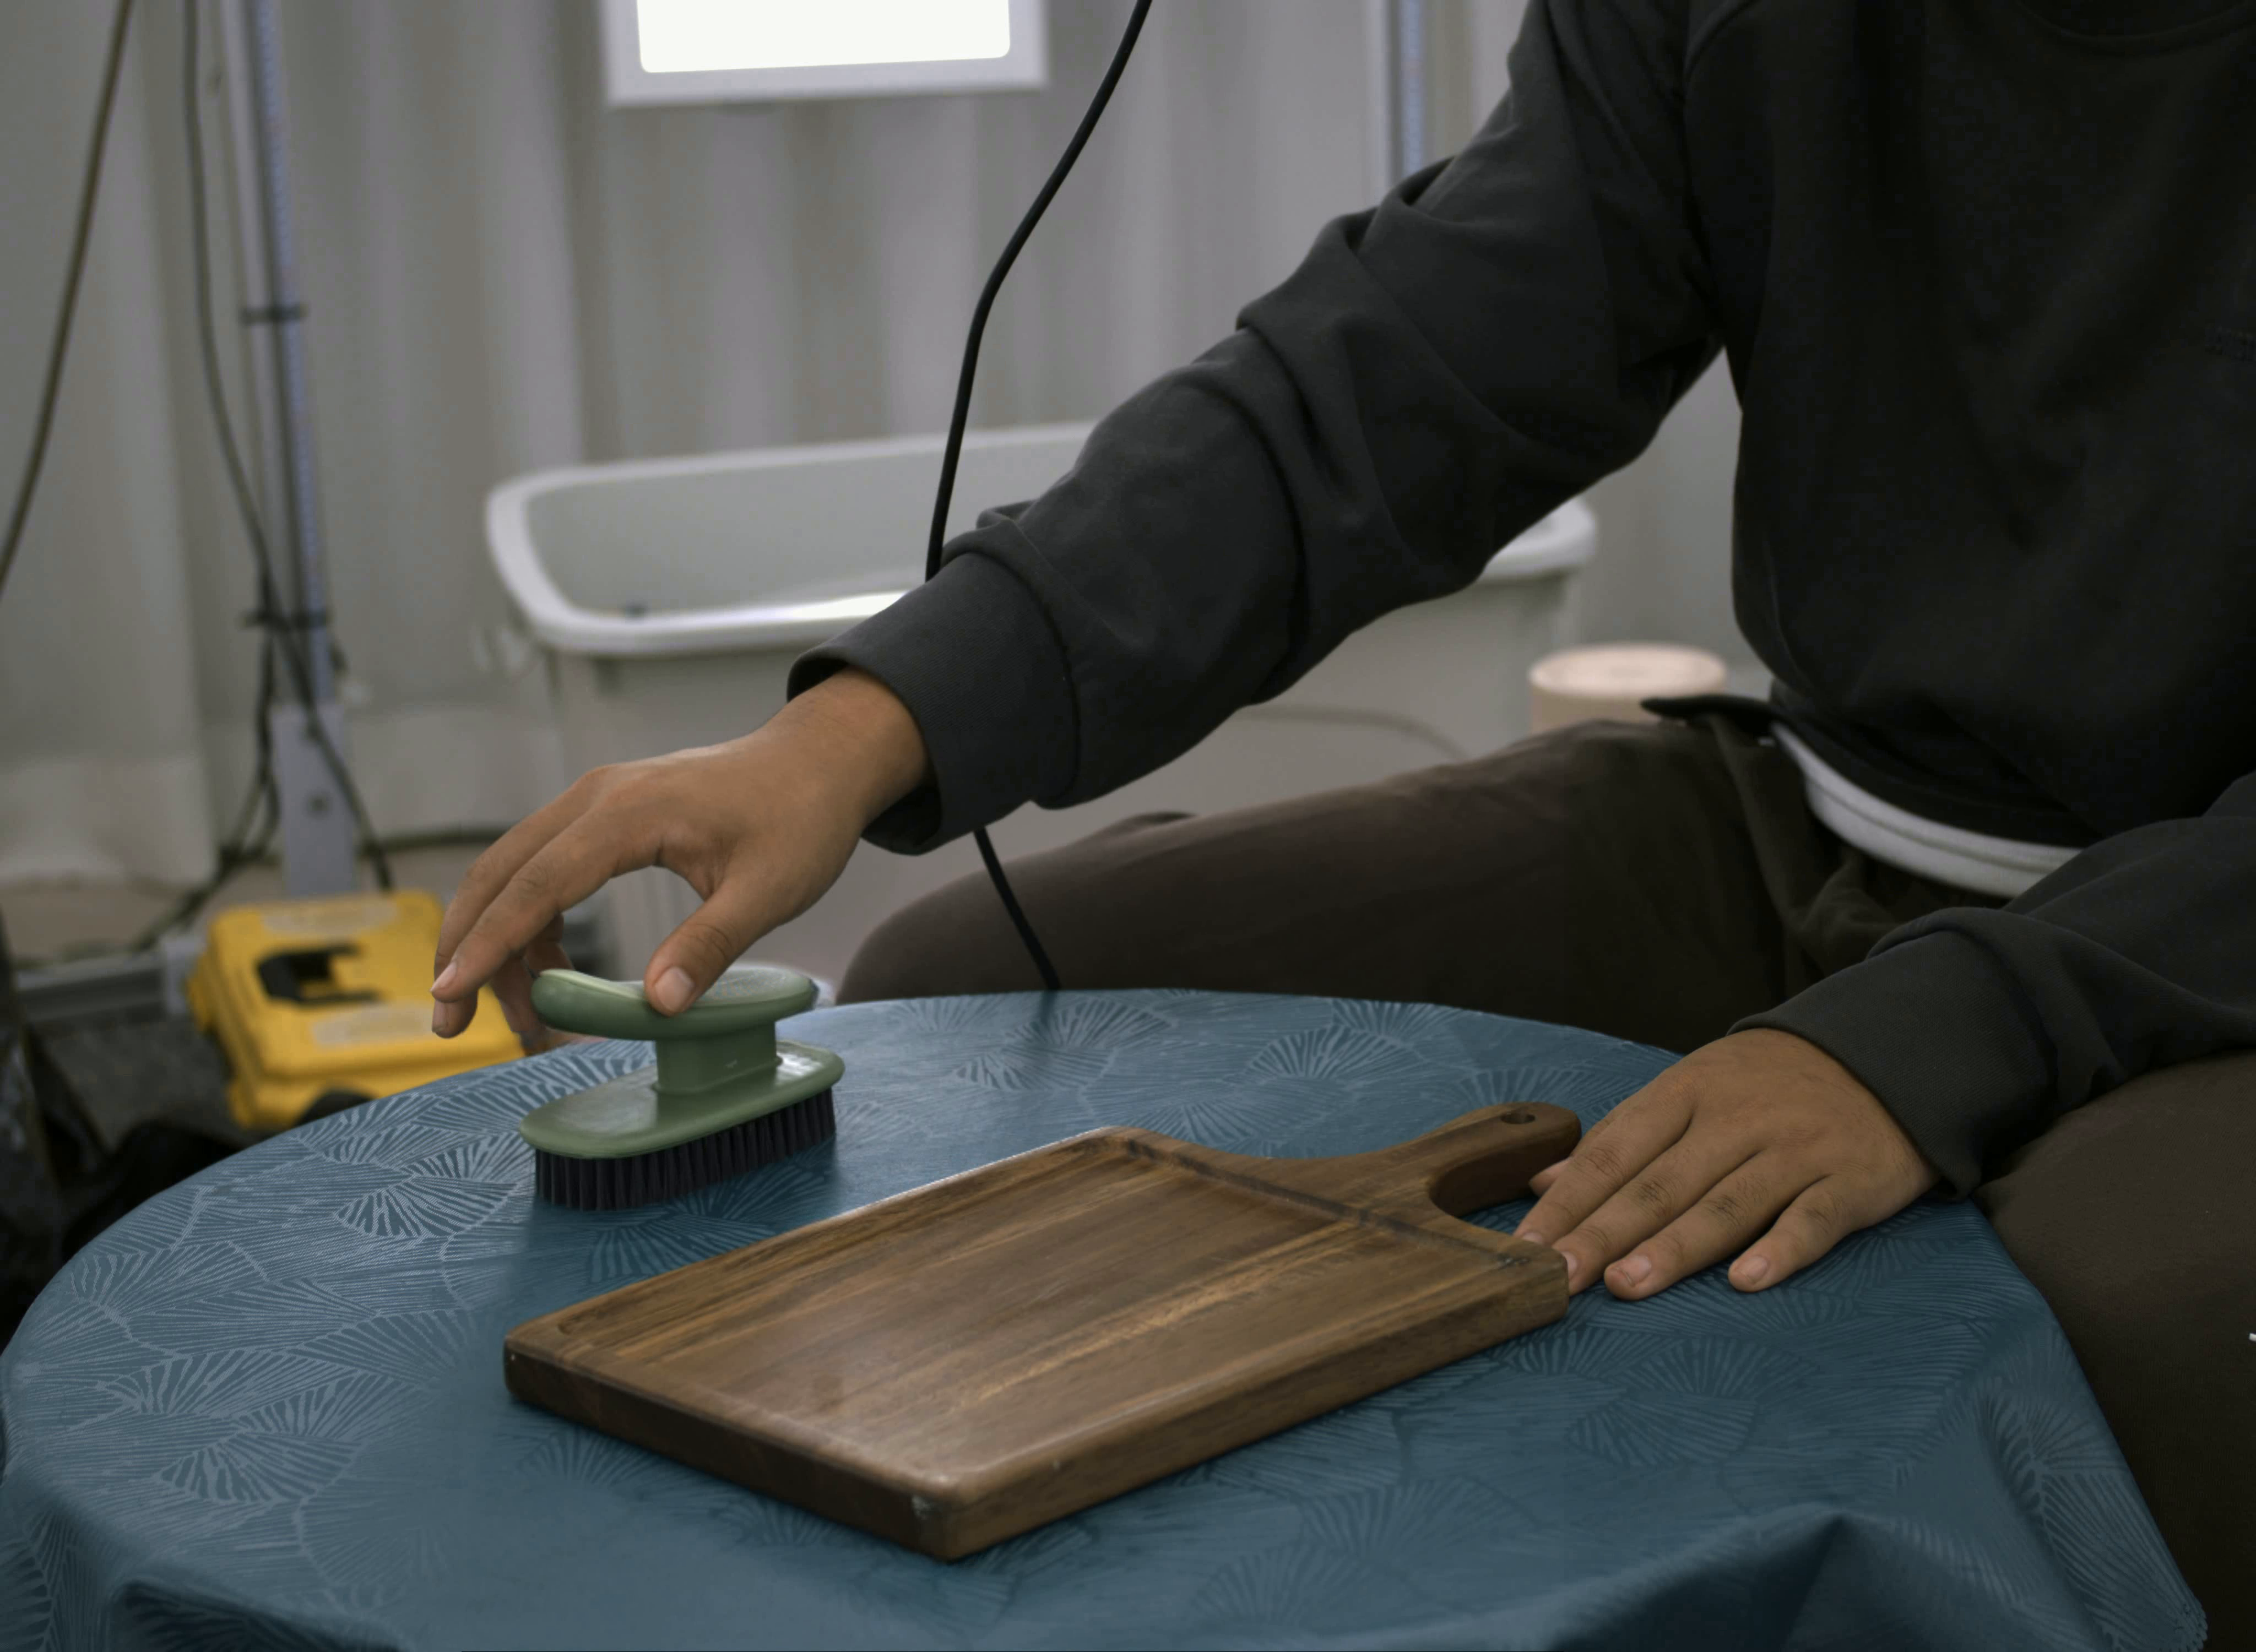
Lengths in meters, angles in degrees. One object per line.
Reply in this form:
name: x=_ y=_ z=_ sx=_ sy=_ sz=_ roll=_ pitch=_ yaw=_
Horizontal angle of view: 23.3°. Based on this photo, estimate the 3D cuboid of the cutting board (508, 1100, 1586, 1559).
cutting board: x=0.012 y=0.133 z=1.606 sx=0.351 sy=0.023 sz=0.202 roll=-16 pitch=20 yaw=-41

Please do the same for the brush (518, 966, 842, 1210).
brush: x=-0.145 y=0.083 z=1.758 sx=0.060 sy=0.076 sz=0.122 roll=12 pitch=6 yaw=39
